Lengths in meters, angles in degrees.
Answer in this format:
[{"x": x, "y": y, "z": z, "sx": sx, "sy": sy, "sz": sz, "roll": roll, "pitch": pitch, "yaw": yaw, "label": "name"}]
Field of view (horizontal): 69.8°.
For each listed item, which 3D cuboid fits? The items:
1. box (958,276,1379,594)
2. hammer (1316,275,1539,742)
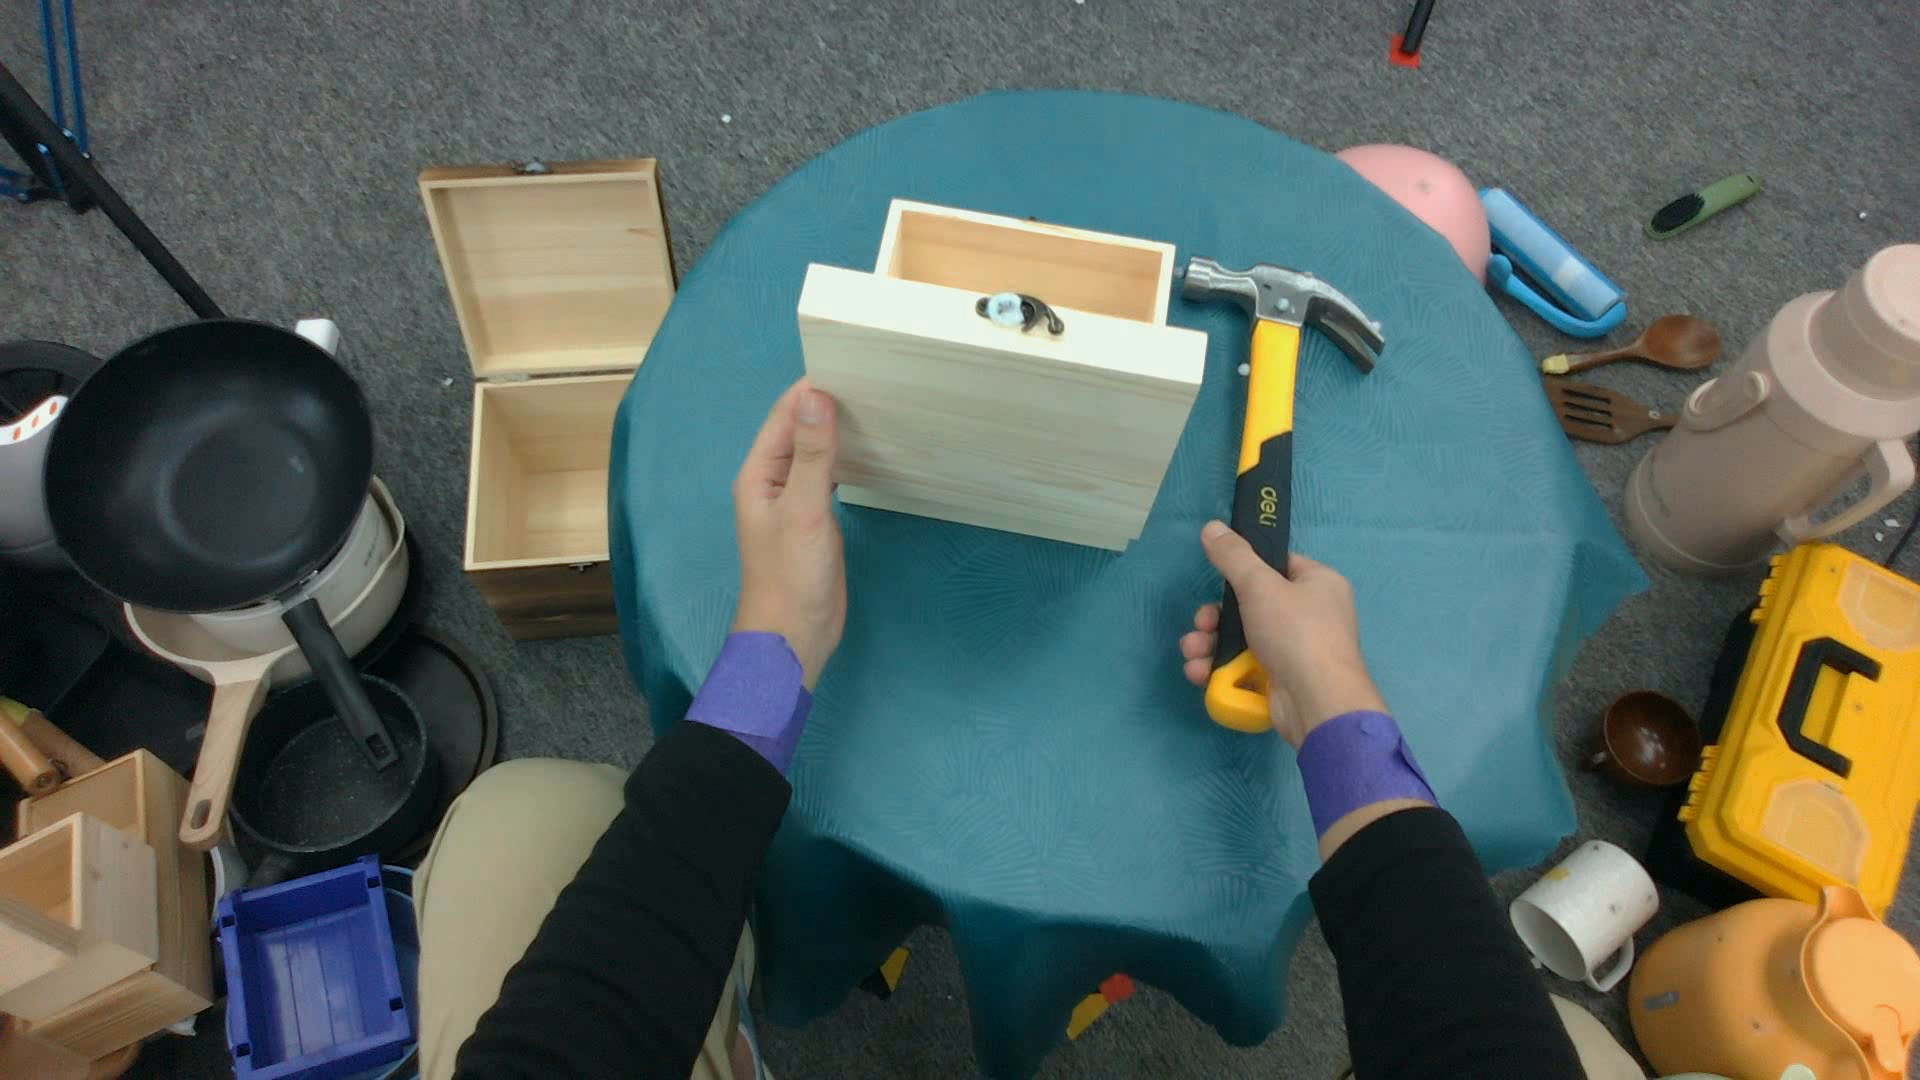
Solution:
[{"x": 0.109, "y": -0.077, "z": 0.758, "sx": 0.181, "sy": 0.252, "sz": 0.266, "roll": -1, "pitch": 60, "yaw": 7, "label": "box"}, {"x": 0.283, "y": -0.035, "z": 0.803, "sx": 0.131, "sy": 0.032, "sz": 0.340, "roll": 1, "pitch": 52, "yaw": 9, "label": "hammer"}]
